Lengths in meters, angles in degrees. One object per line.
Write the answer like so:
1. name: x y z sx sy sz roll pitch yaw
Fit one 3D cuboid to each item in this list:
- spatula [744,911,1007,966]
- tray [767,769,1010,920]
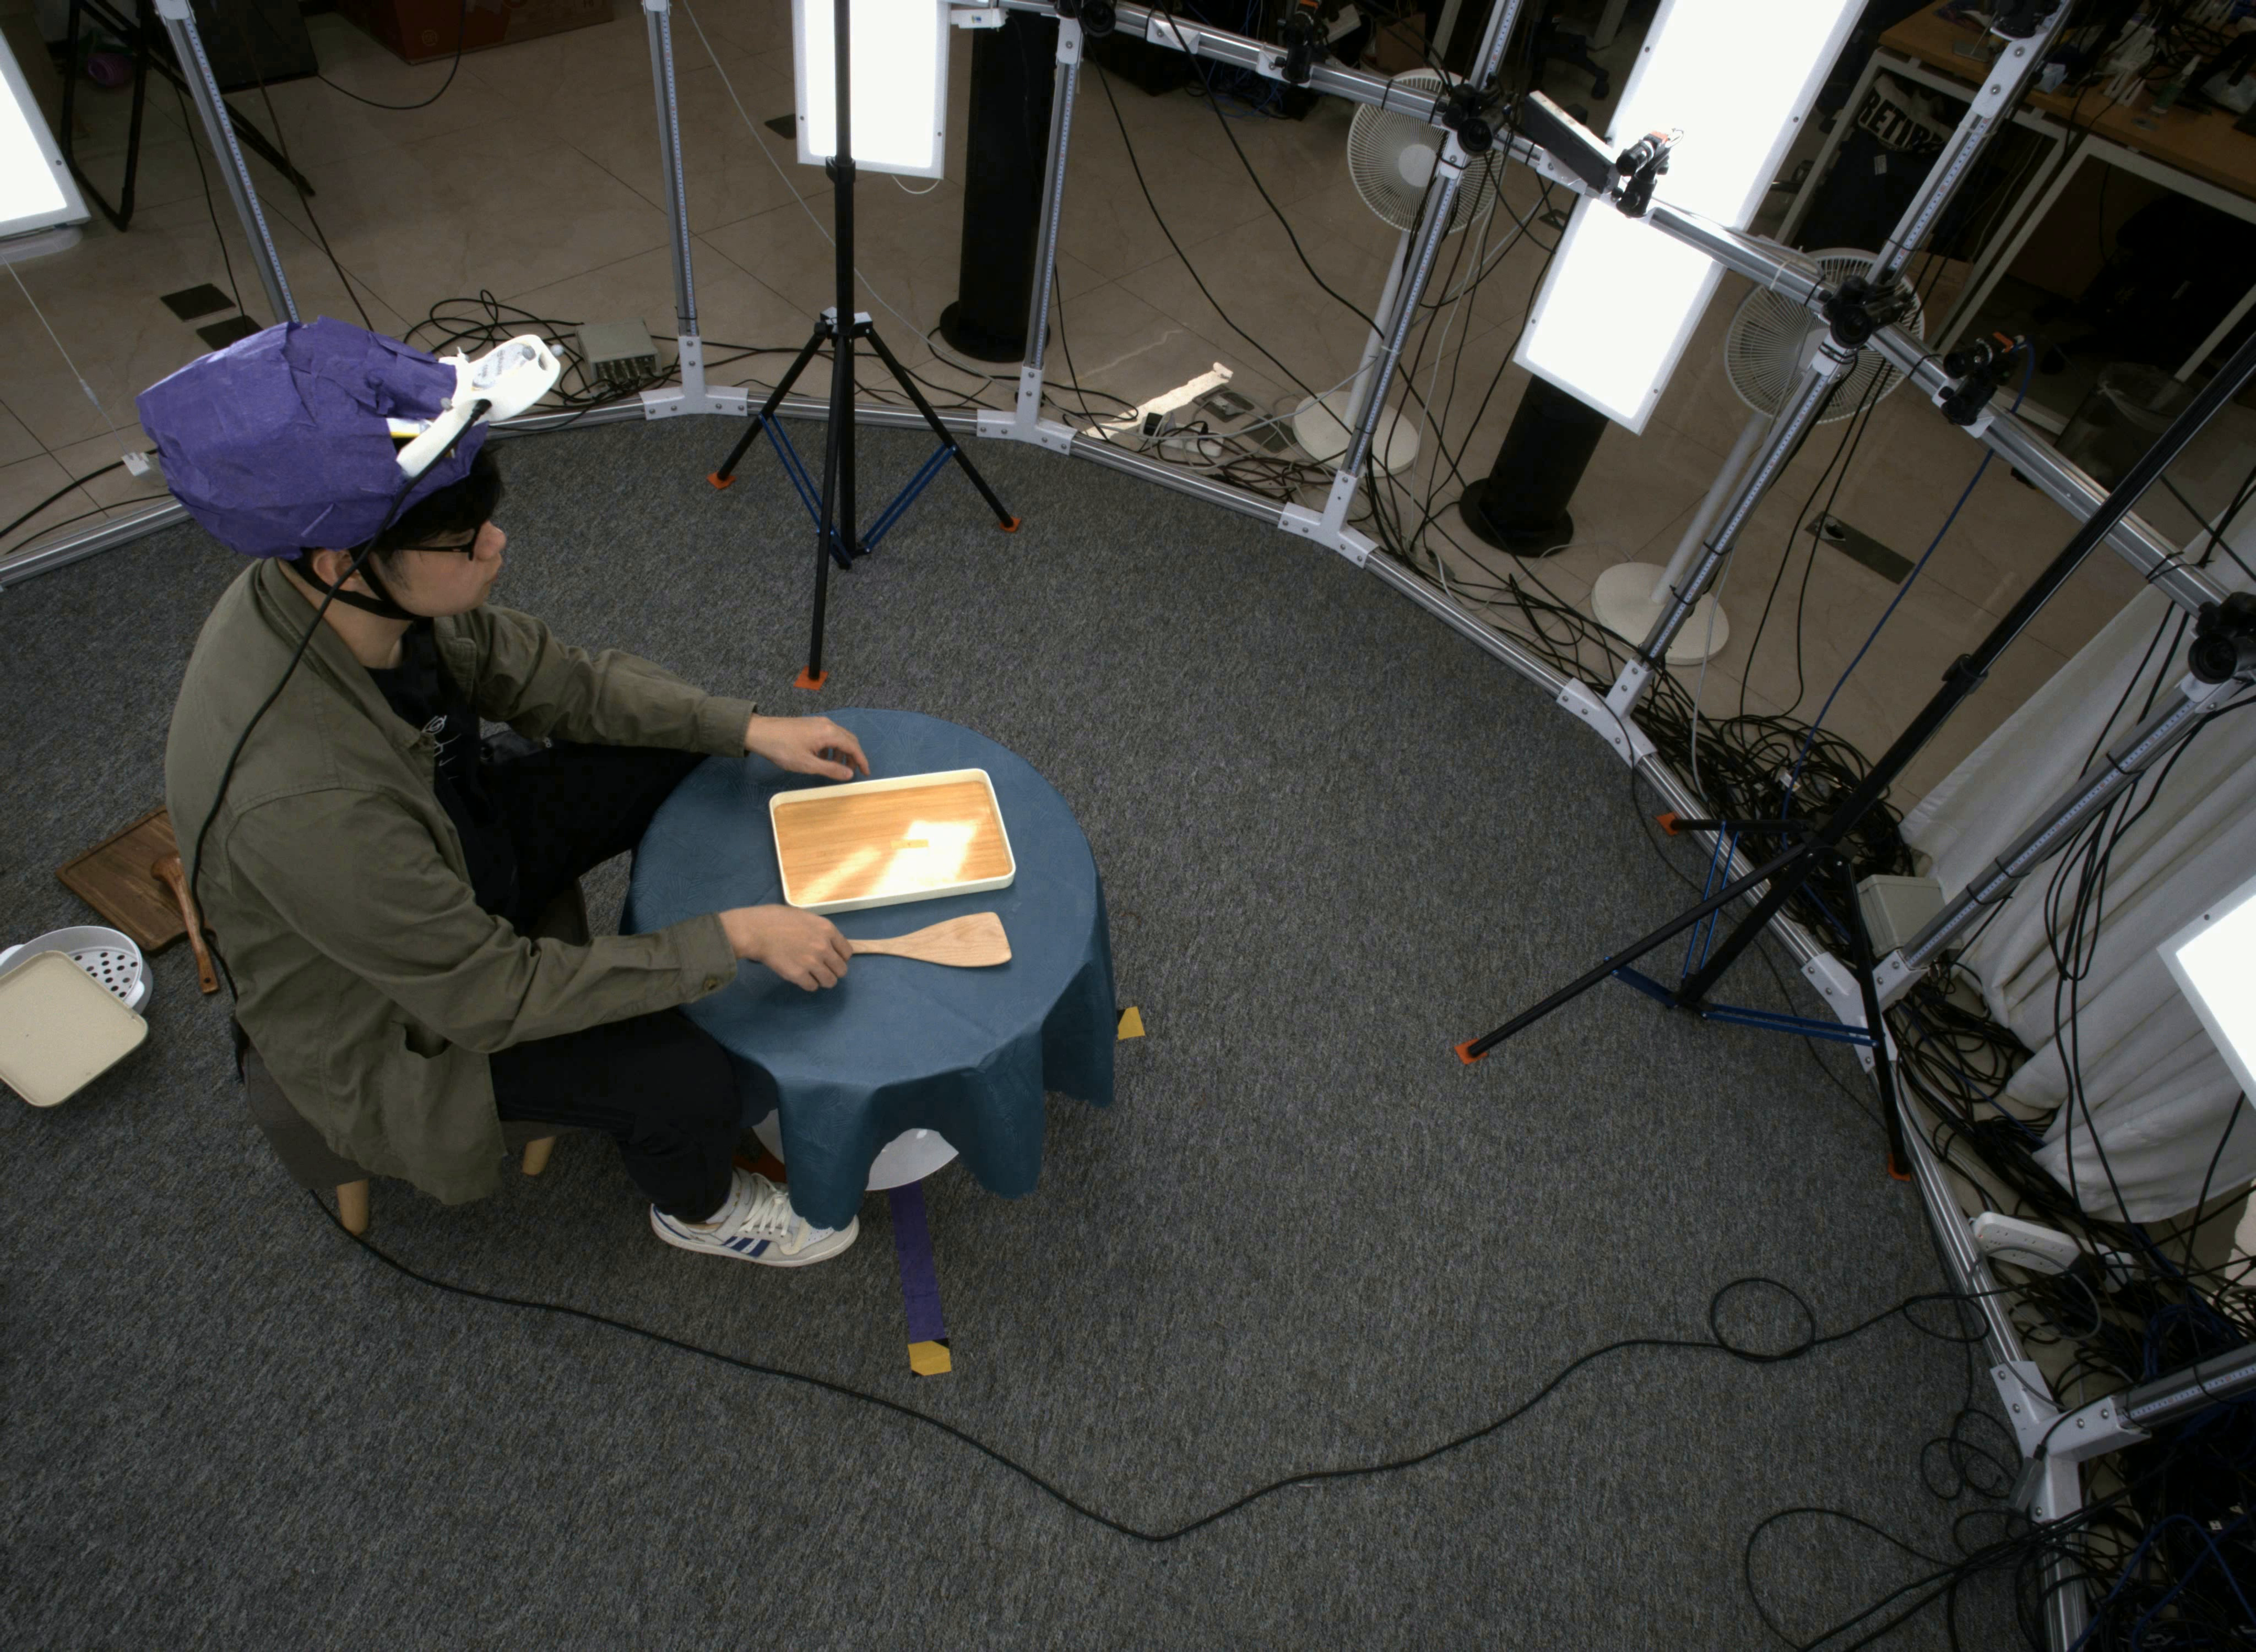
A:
1. spatula: -0.319 0.149 1.646 0.328 0.017 0.078 -2 54 -15
2. tray: -0.320 0.019 1.733 0.301 0.028 0.187 -8 56 -17
